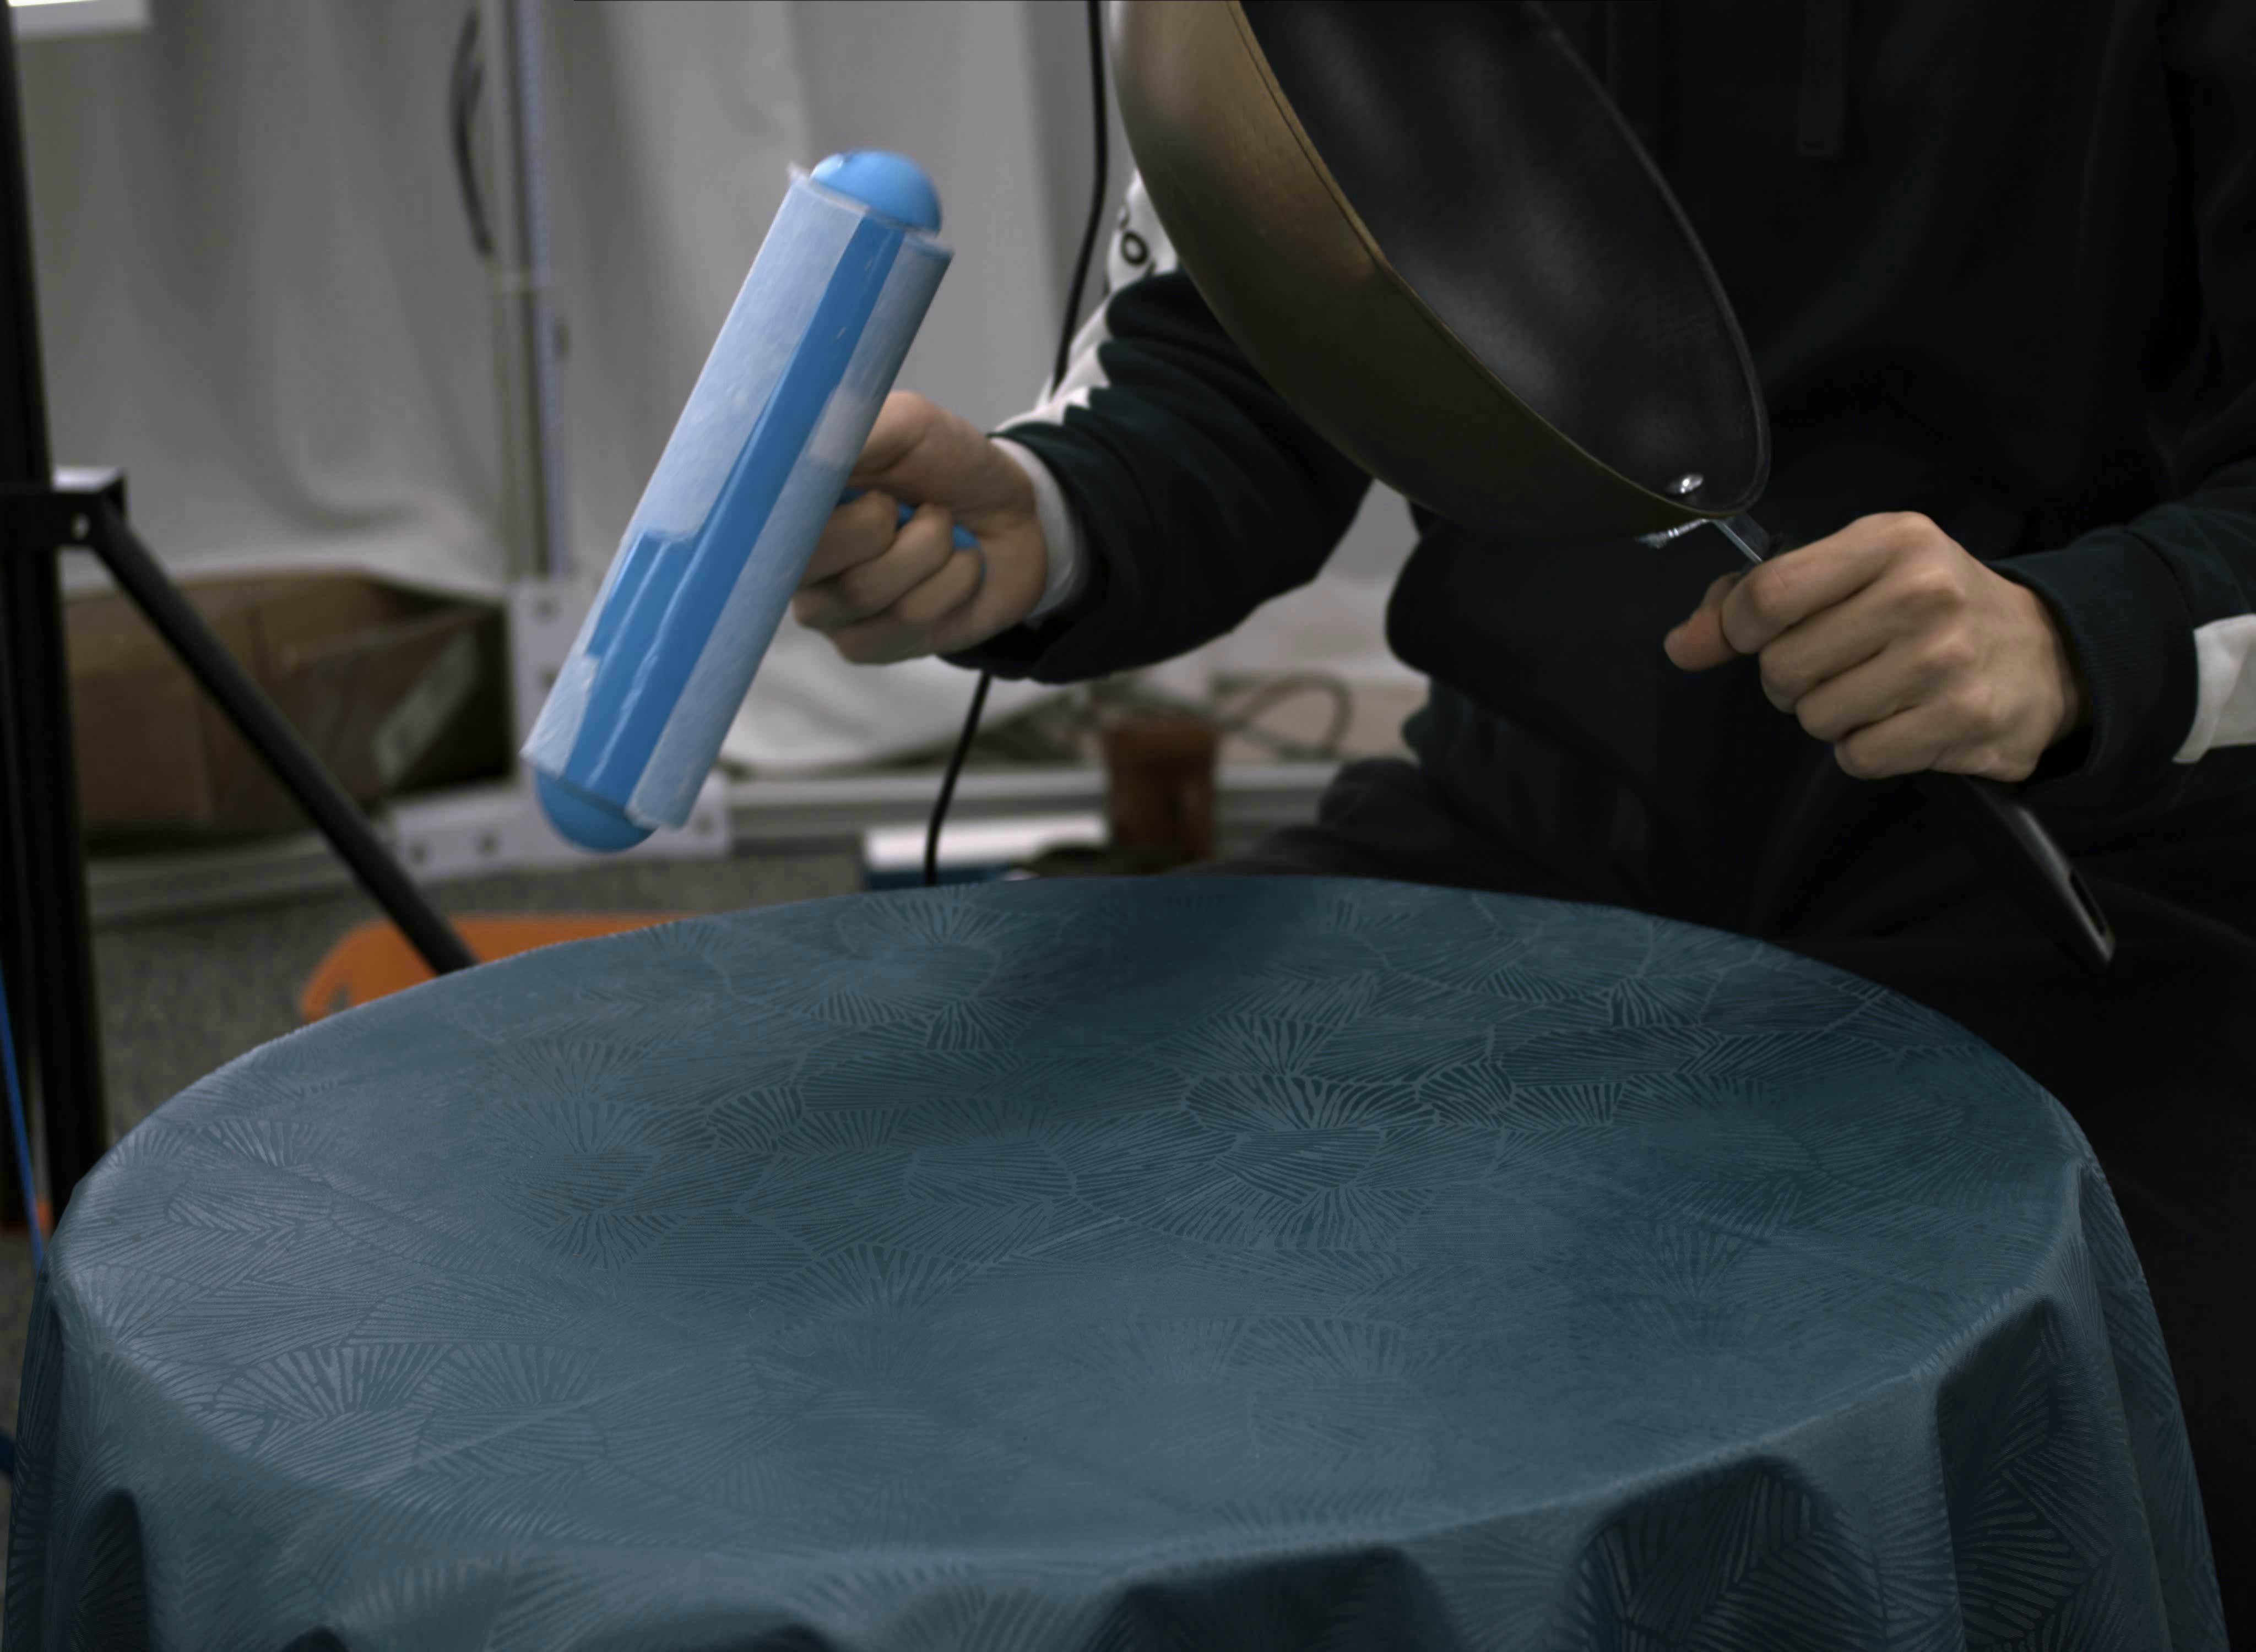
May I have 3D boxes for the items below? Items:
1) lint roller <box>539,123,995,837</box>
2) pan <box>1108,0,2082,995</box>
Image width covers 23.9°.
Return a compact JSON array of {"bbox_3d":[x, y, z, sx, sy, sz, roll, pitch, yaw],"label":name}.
[{"bbox_3d":[-0.098,-0.096,1.652,0.069,0.229,0.177,25,1,17],"label":"lint roller"},{"bbox_3d":[0.135,-0.122,1.644,0.088,0.462,0.286,-34,6,26],"label":"pan"}]
